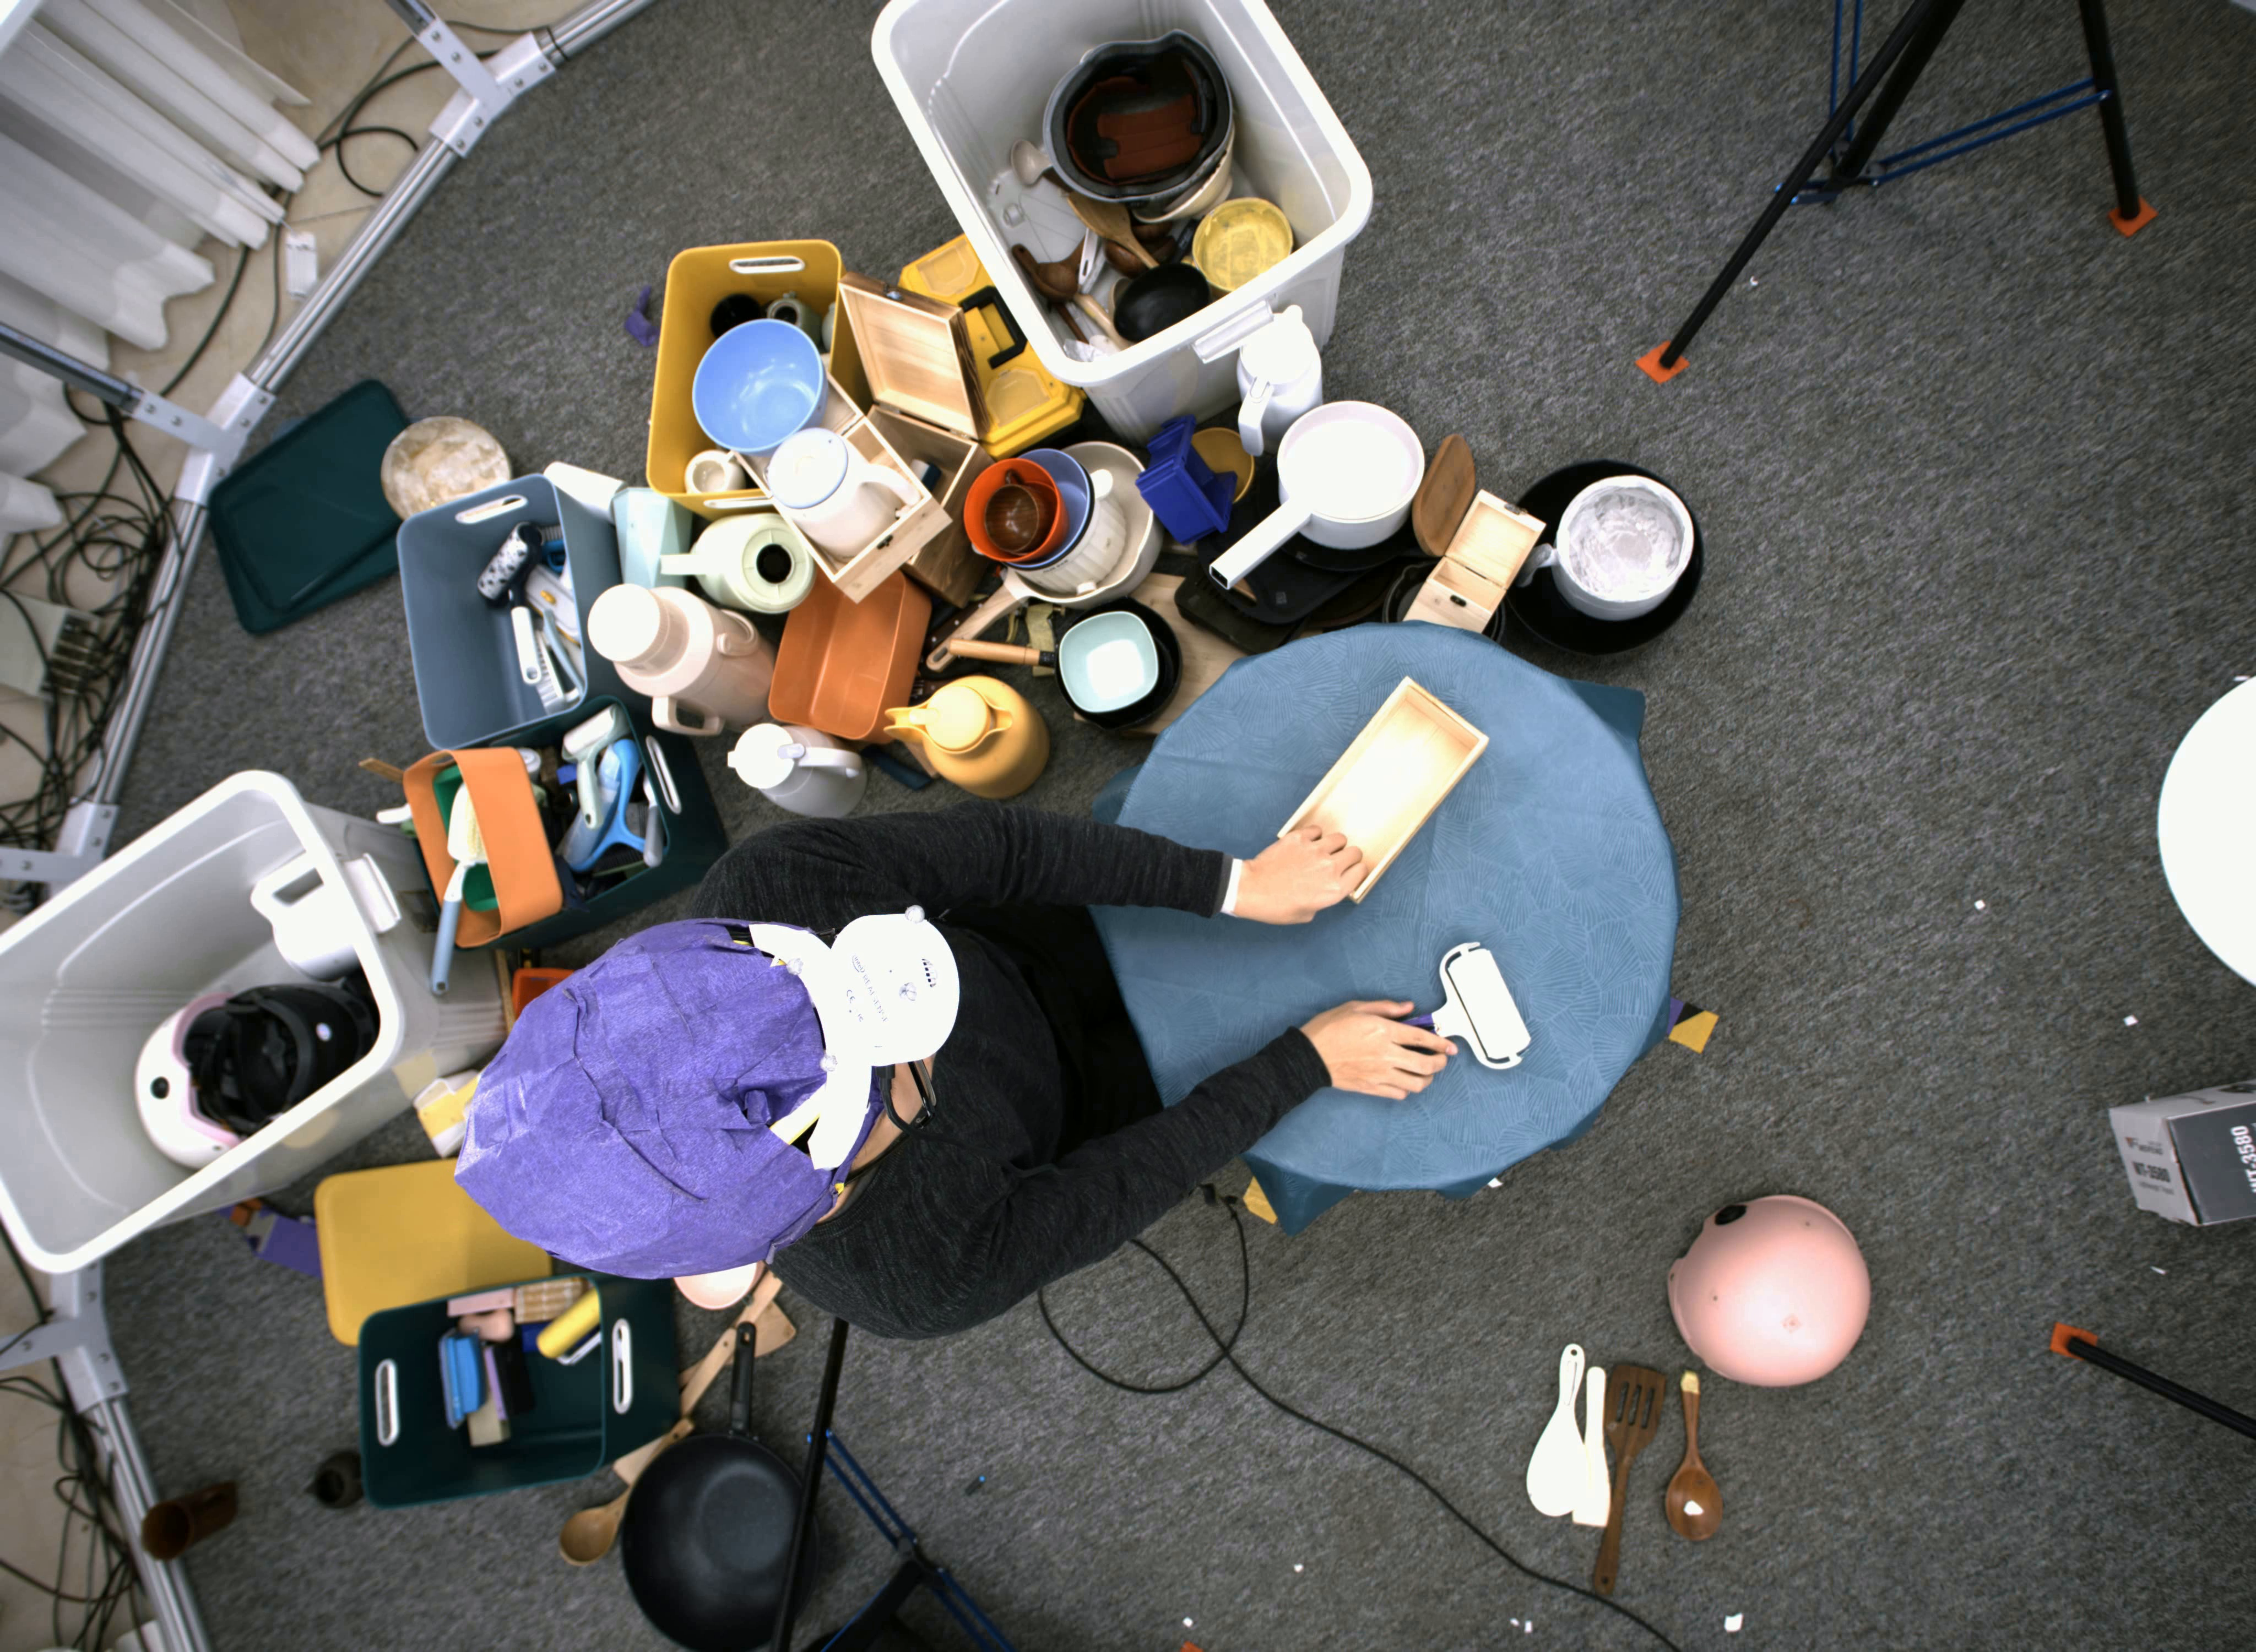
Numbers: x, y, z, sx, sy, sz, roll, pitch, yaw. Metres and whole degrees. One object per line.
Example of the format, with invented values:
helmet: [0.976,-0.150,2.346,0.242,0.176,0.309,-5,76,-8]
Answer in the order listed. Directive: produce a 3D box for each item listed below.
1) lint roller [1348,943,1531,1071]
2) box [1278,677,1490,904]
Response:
lint roller: [0.310,0.206,1.421,0.181,0.050,0.132,-23,84,7]
box: [0.264,-0.036,1.427,0.107,0.080,0.212,39,95,10]
